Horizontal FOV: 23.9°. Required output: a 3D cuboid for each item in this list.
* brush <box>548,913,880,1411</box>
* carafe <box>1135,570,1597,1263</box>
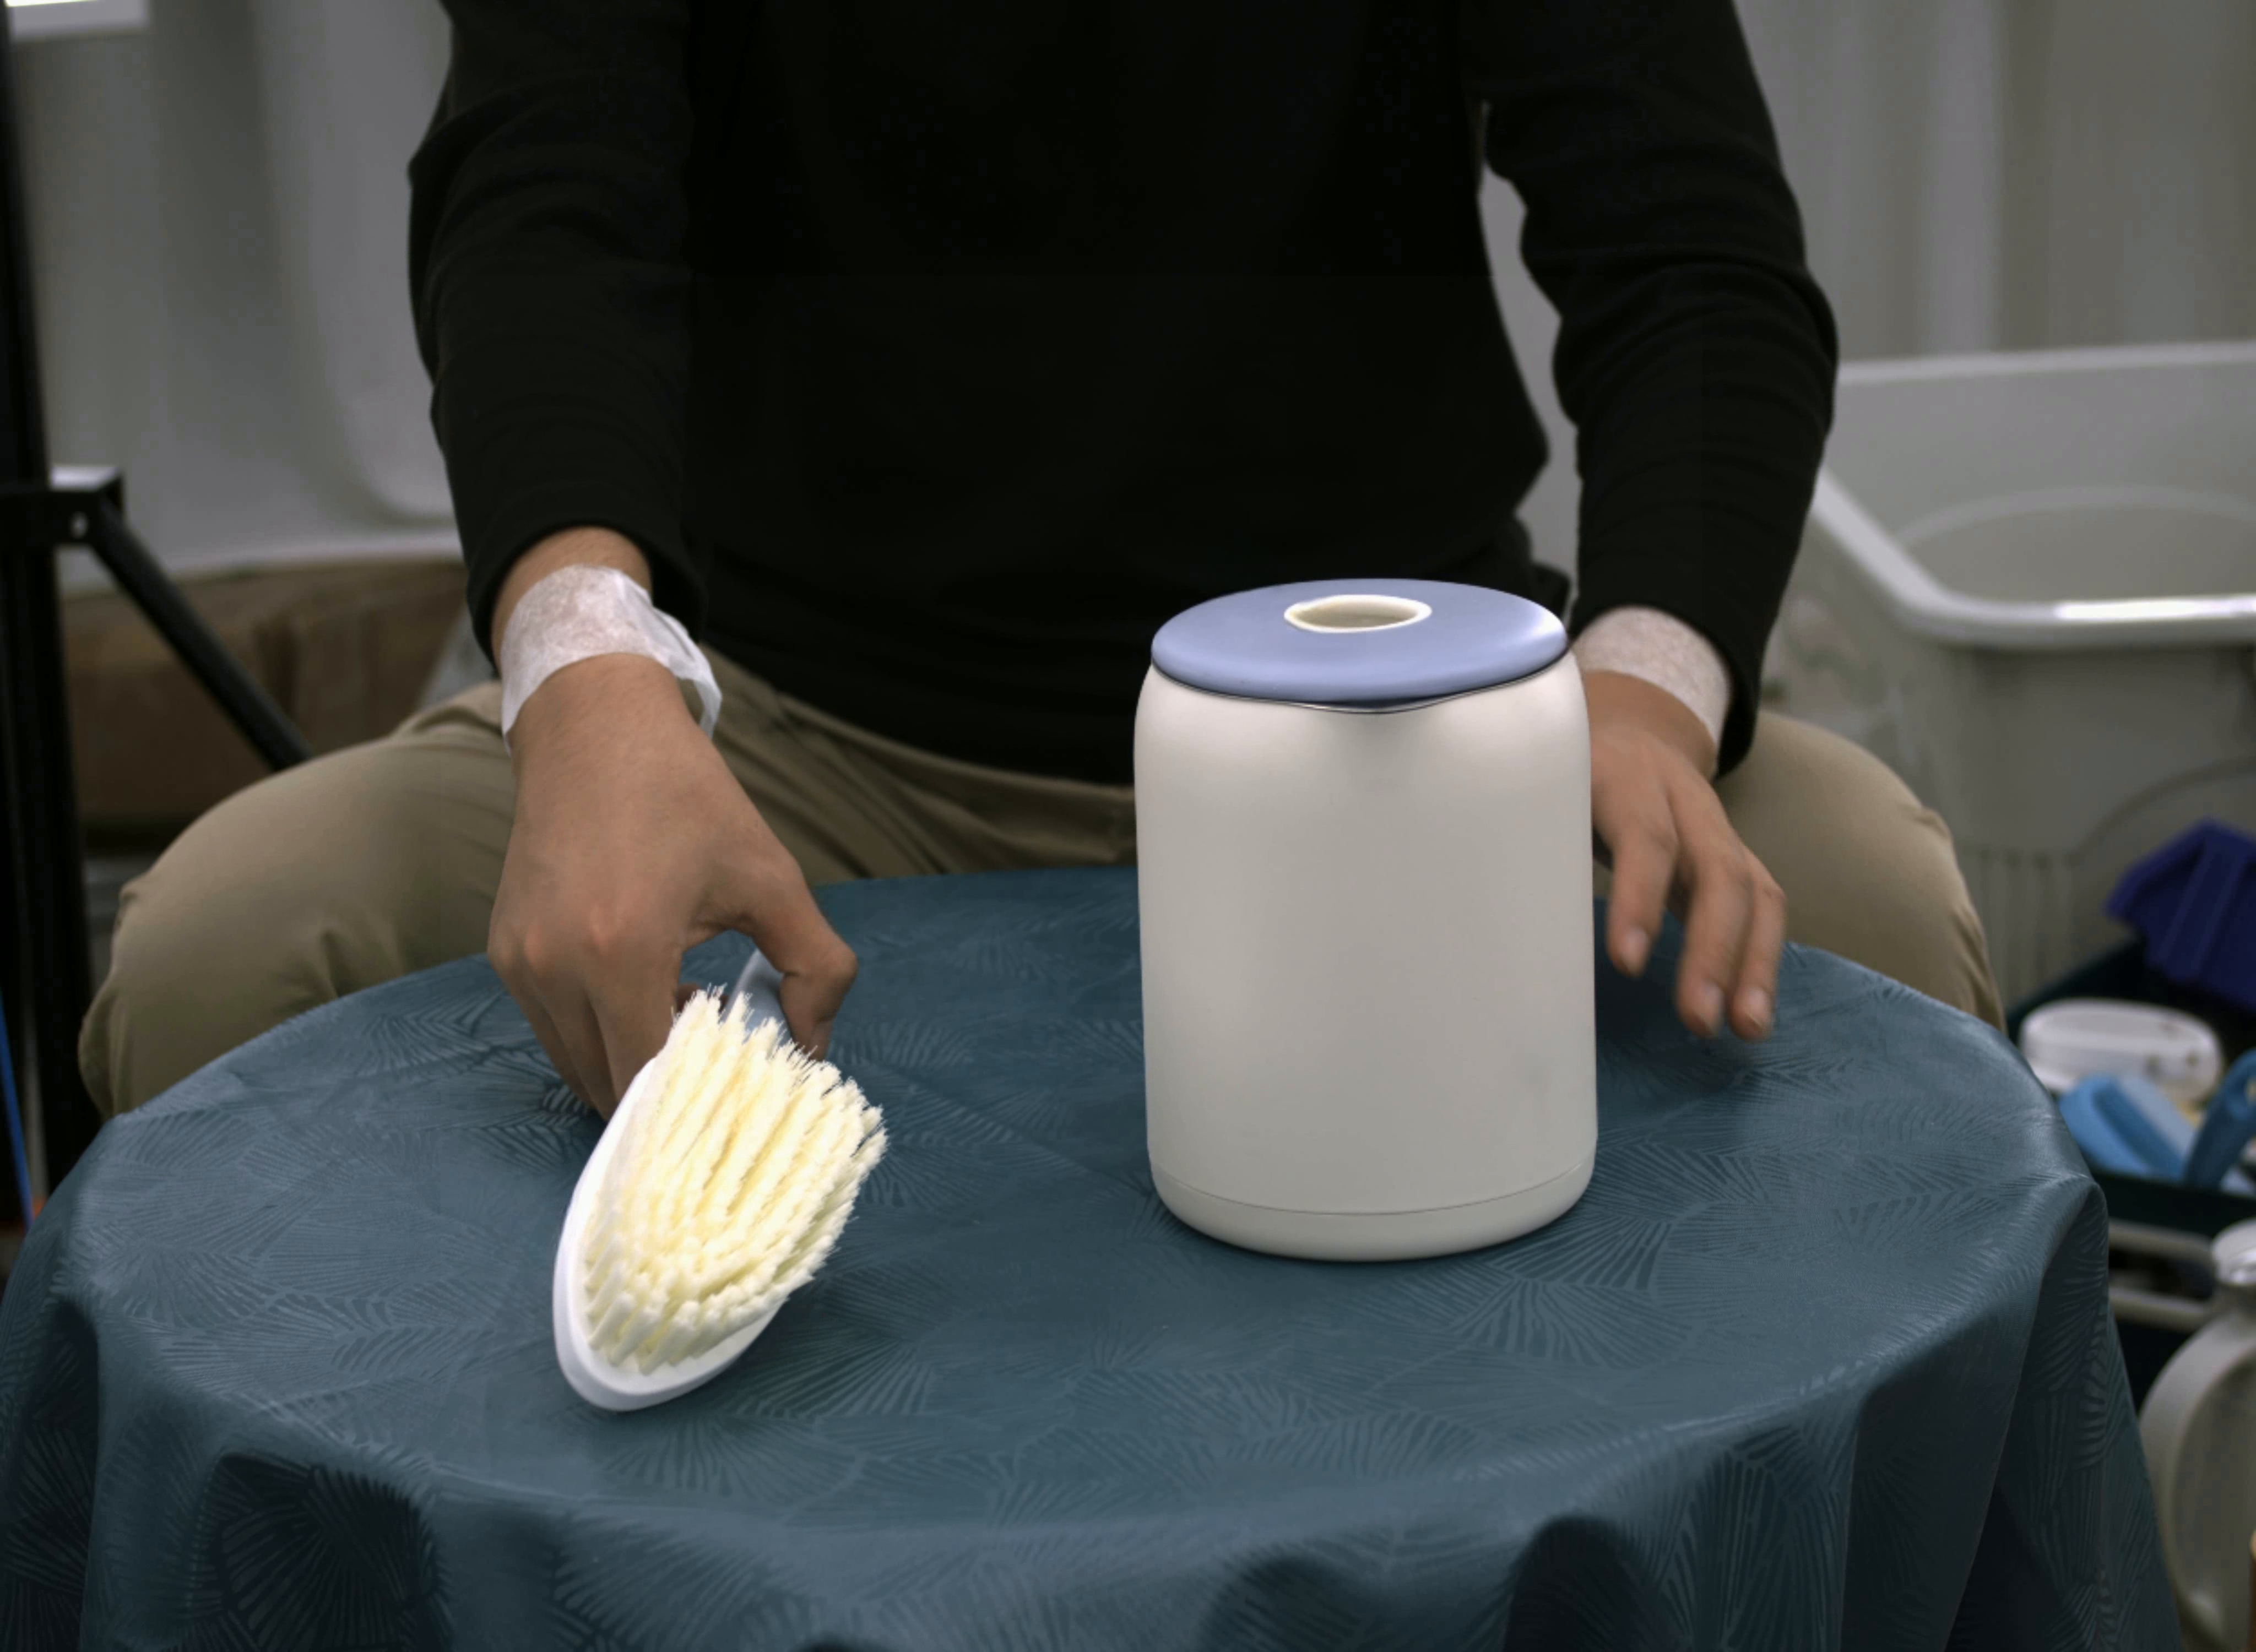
[{"bbox_3d":[-0.104,0.067,1.542,0.085,0.083,0.325,-11,18,12],"label":"brush"},{"bbox_3d":[0.067,0.019,1.547,0.131,0.182,0.192,-3,14,-3],"label":"carafe"}]
